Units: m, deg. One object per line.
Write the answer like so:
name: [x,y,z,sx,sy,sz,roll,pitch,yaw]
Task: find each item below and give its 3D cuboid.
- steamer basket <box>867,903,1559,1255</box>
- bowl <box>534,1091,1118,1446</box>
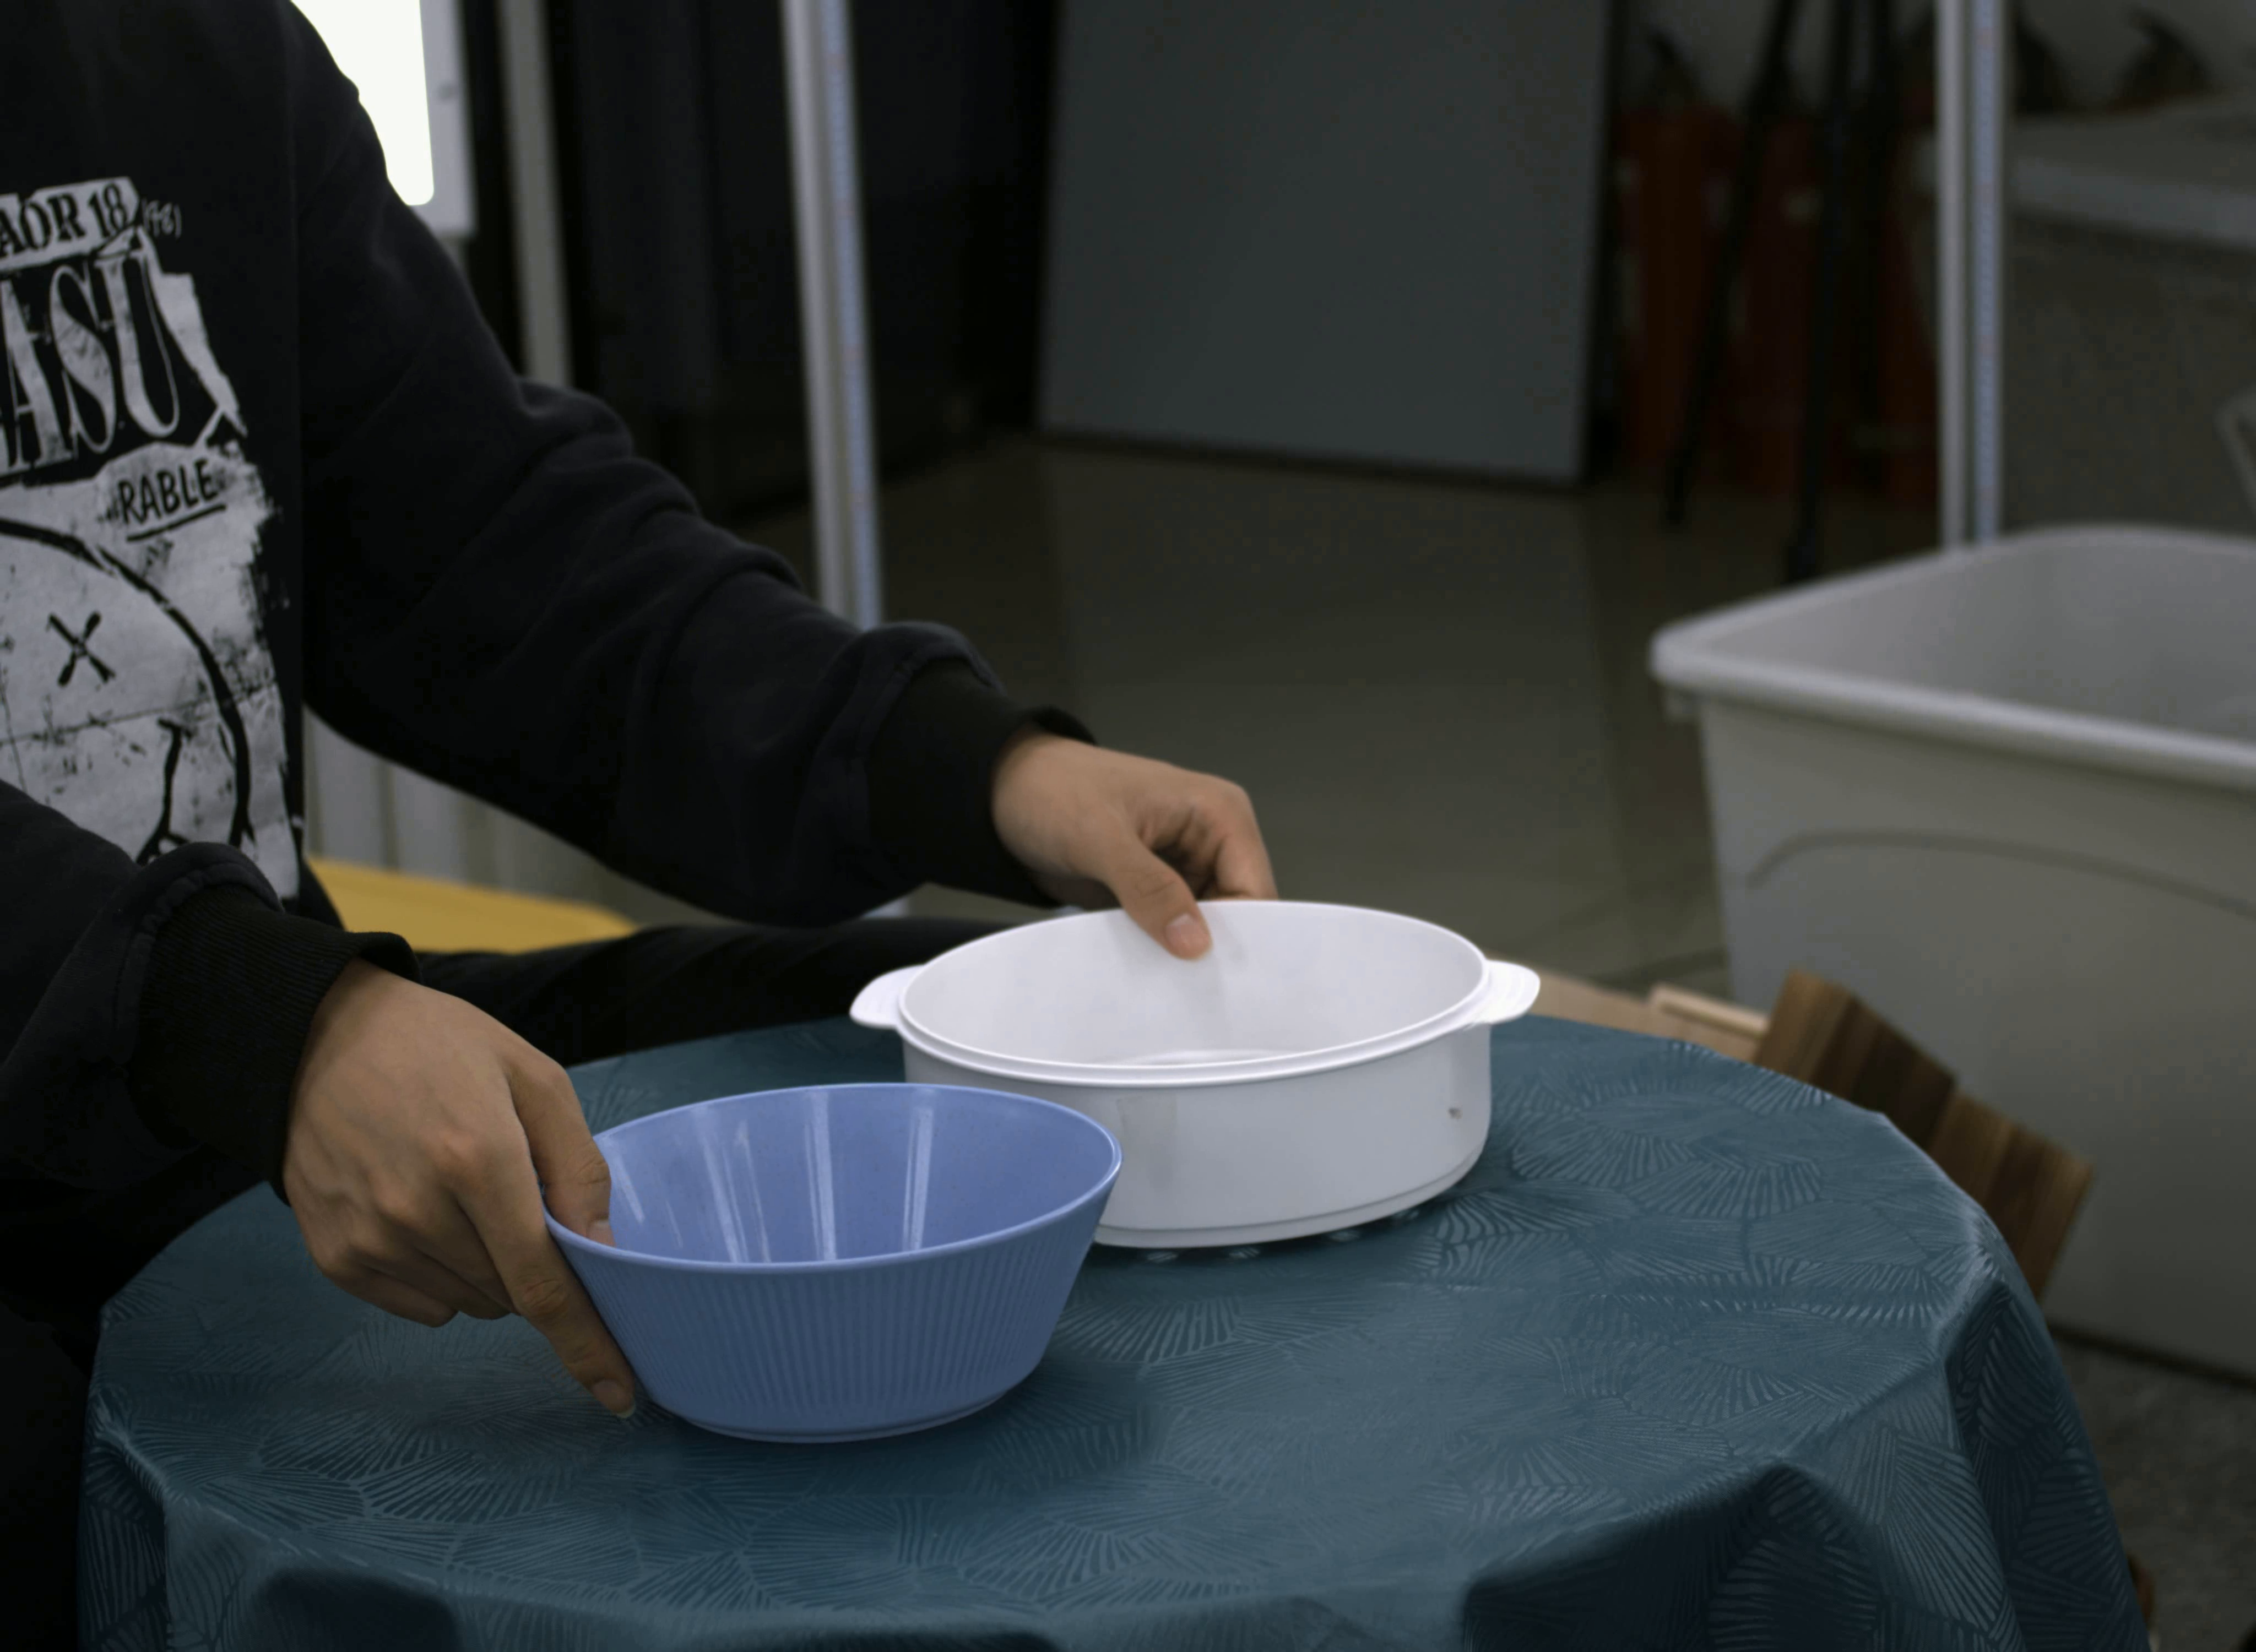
steamer basket: [0.029,0.082,1.777,0.229,0.070,0.201,1,14,11]
bowl: [-0.087,0.133,1.600,0.174,0.071,0.176,-4,13,0]
